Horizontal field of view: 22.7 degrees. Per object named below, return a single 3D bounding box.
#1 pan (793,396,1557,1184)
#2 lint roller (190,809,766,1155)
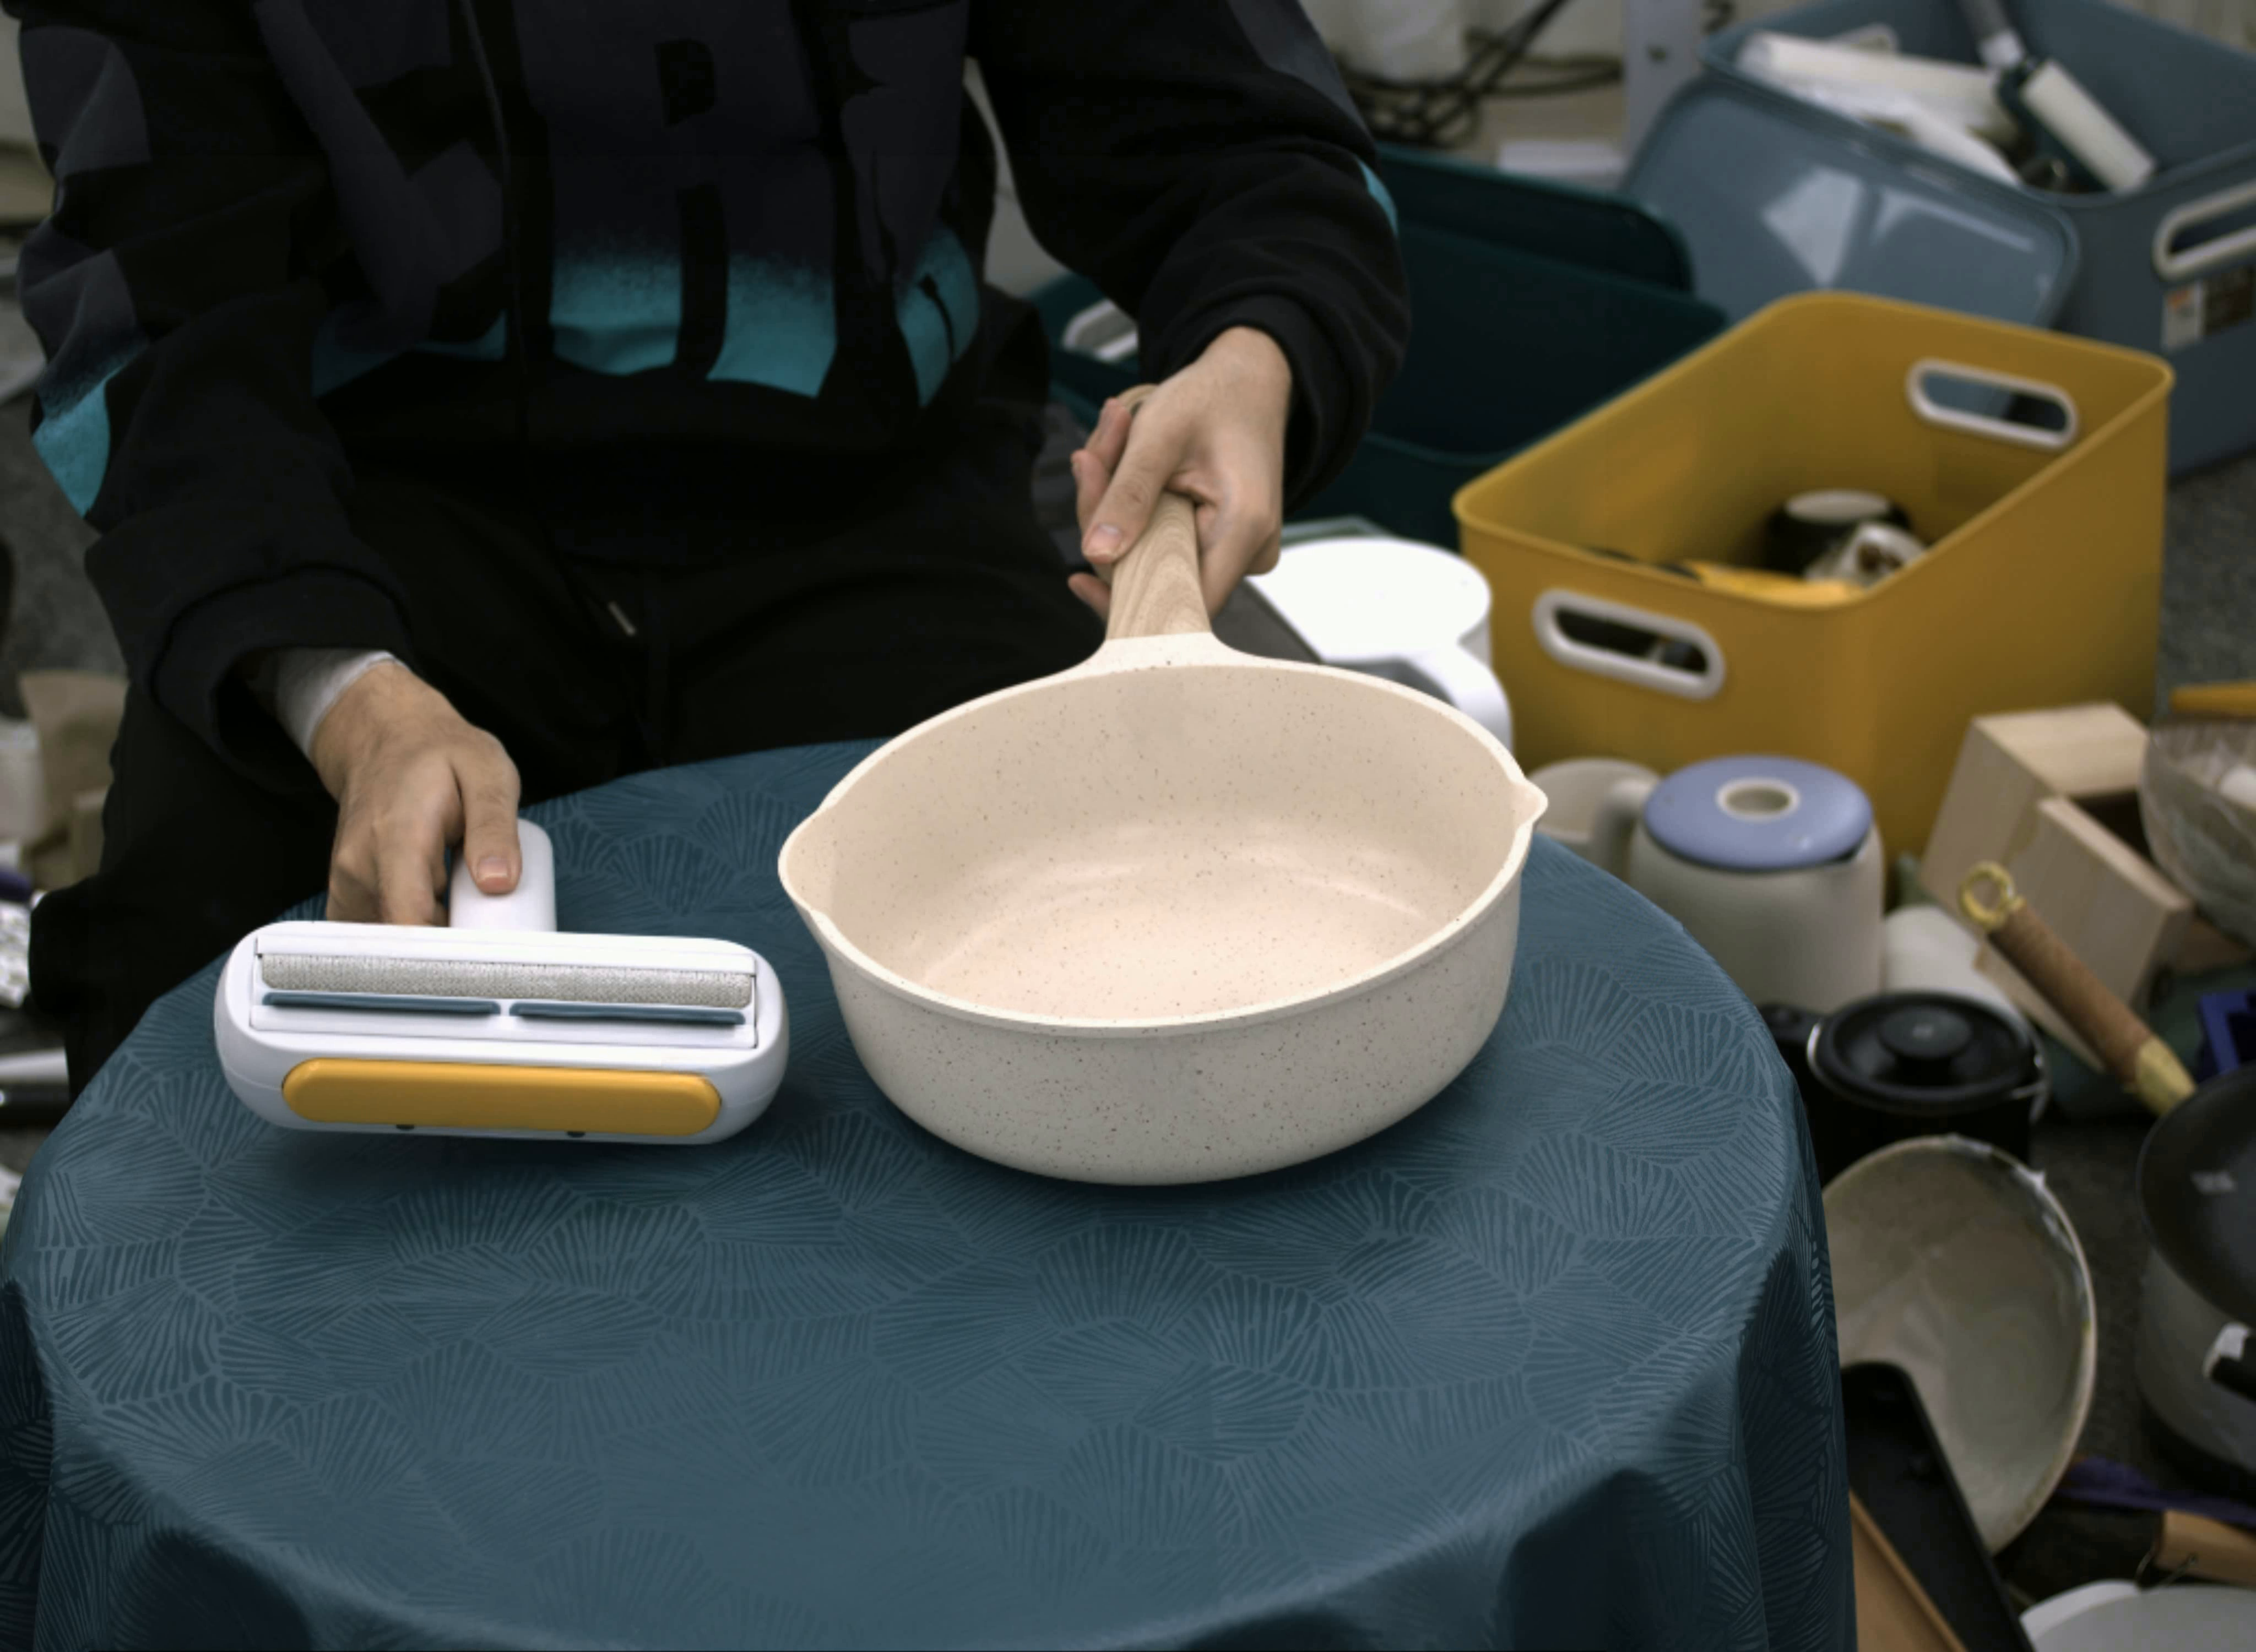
[{"bbox_3d":[0.018,-0.016,2.004,0.262,0.101,0.441,-7,29,2],"label":"pan"},{"bbox_3d":[-0.220,0.042,1.944,0.192,0.073,0.196,1,36,-3],"label":"lint roller"}]
